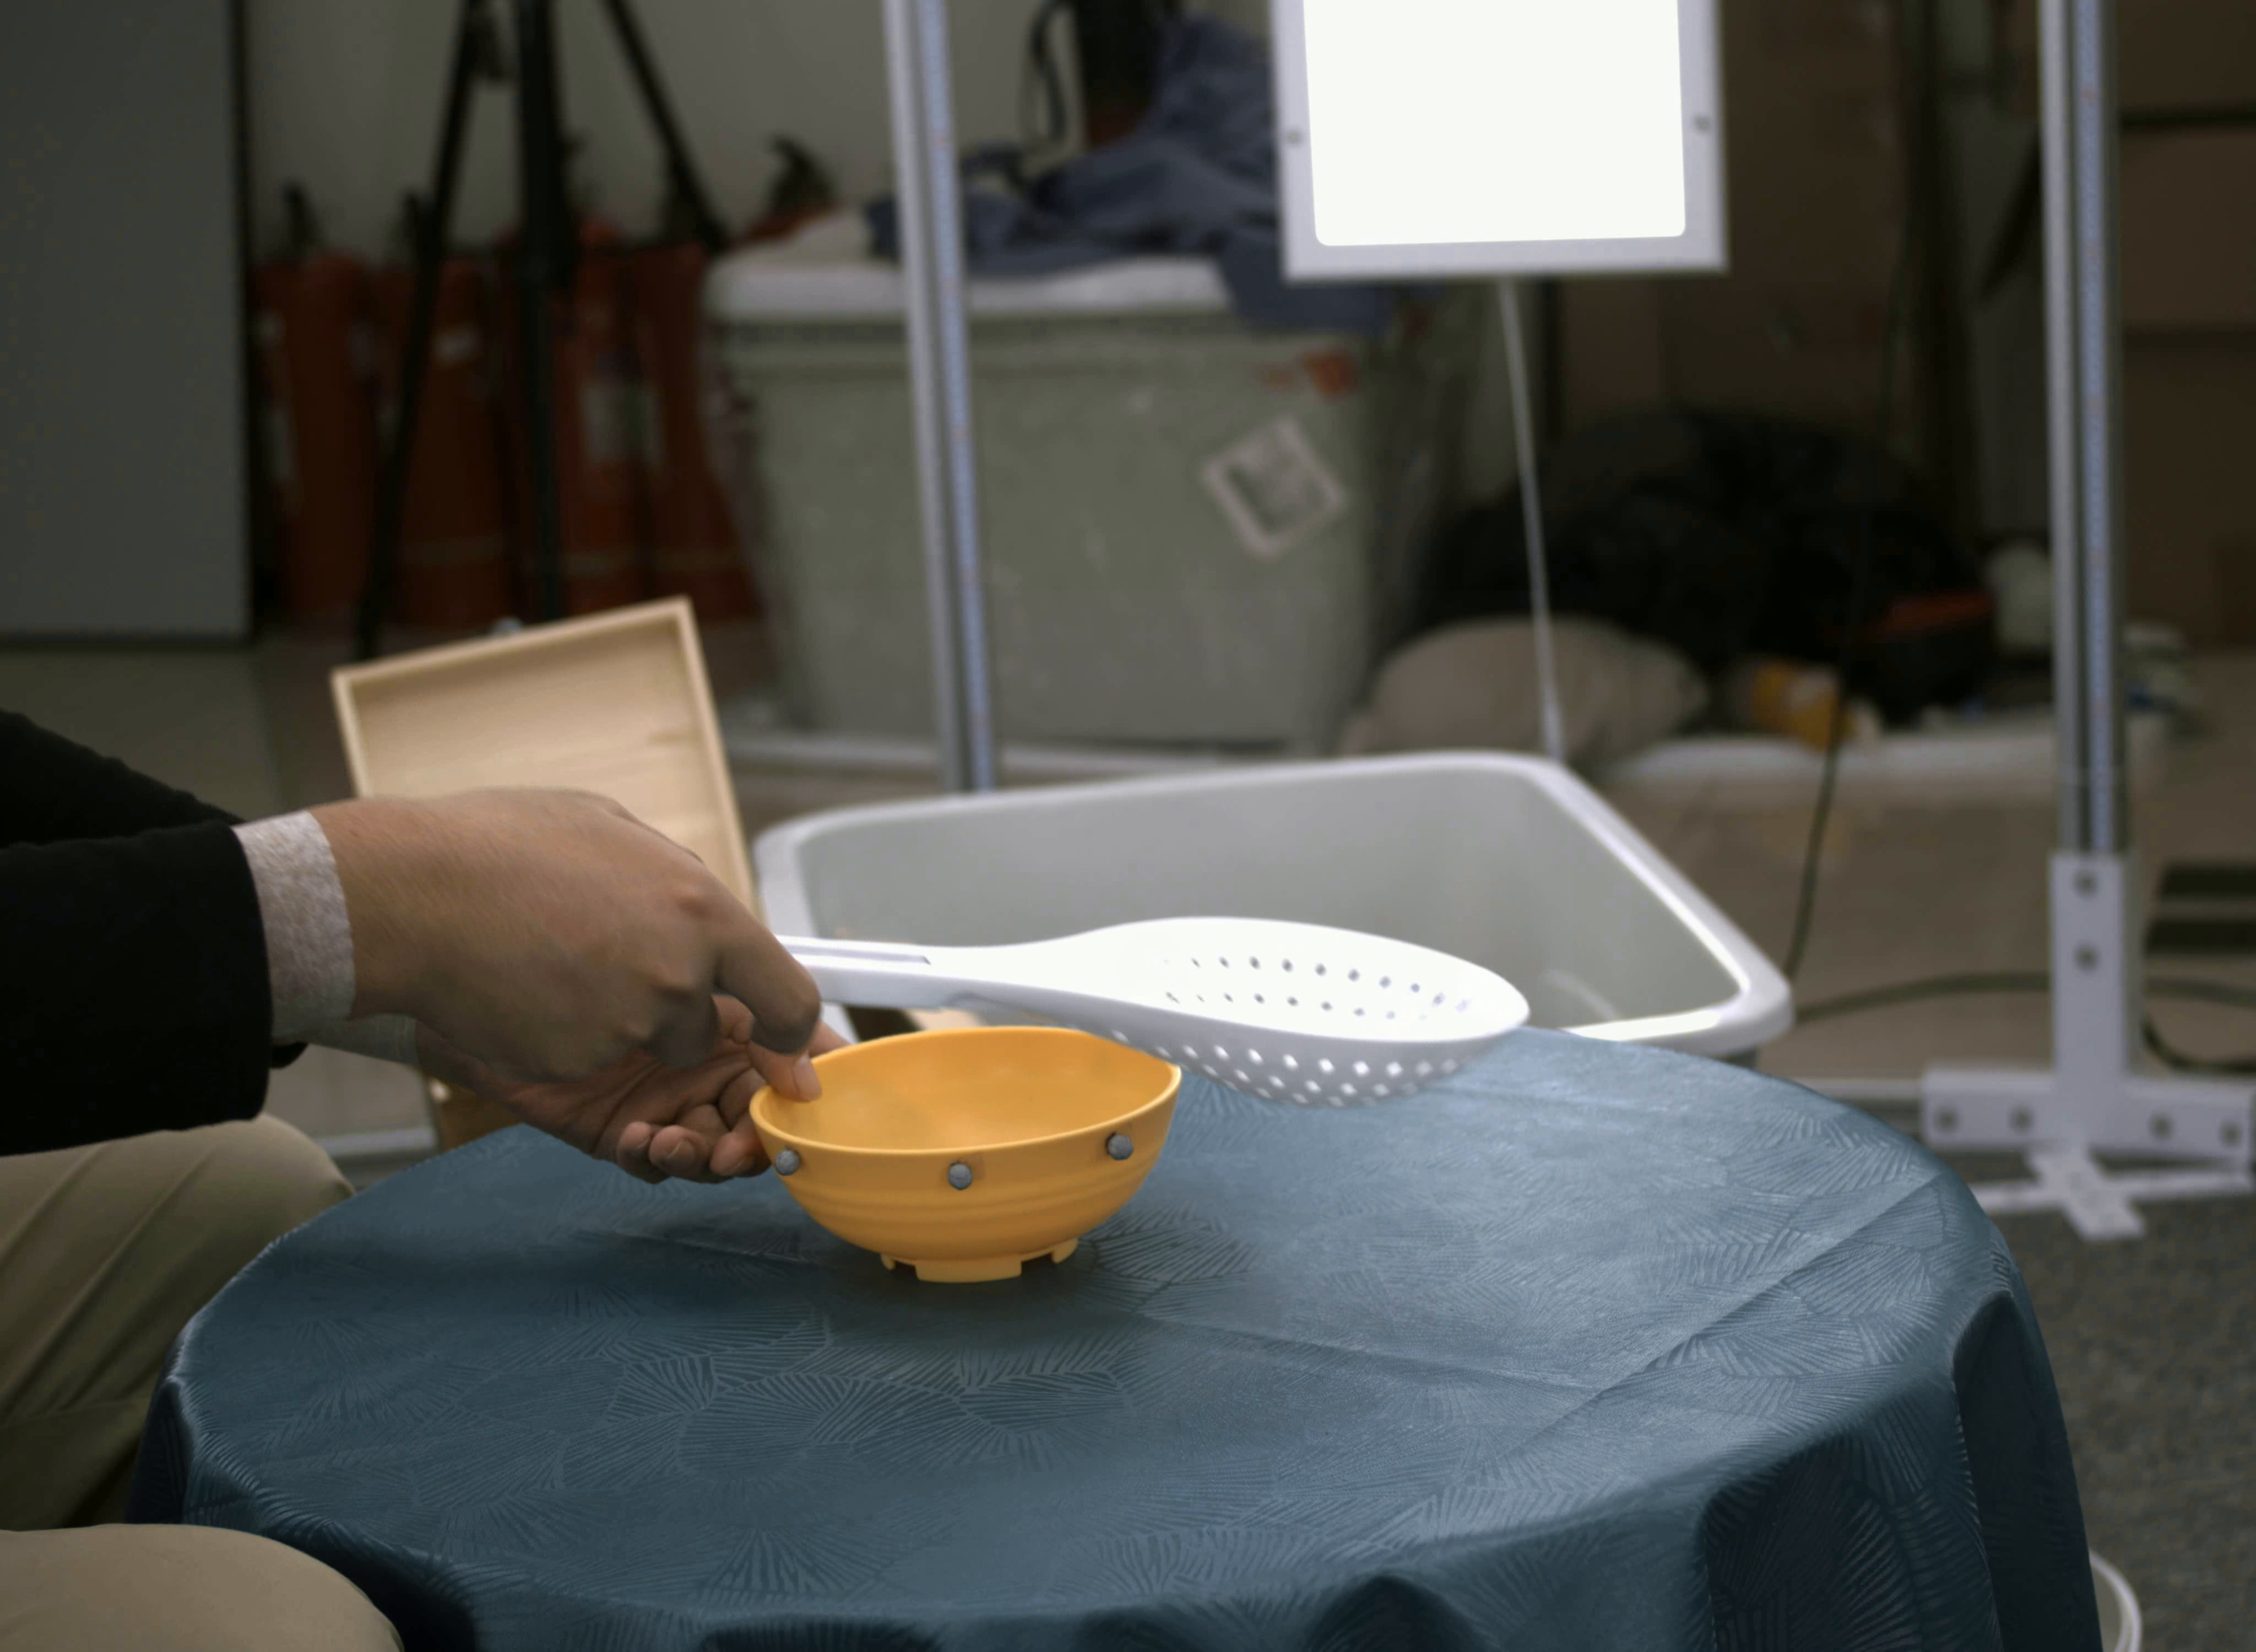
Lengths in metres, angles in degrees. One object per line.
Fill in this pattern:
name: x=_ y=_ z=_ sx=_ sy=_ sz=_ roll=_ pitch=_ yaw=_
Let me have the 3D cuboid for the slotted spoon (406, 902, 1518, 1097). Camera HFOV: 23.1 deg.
slotted spoon: x=-0.049 y=0.044 z=1.697 sx=0.345 sy=0.046 sz=0.137 roll=8 pitch=12 yaw=-15

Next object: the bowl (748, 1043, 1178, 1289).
bowl: x=-0.053 y=0.117 z=1.841 sx=0.145 sy=0.060 sz=0.145 roll=-5 pitch=11 yaw=0
